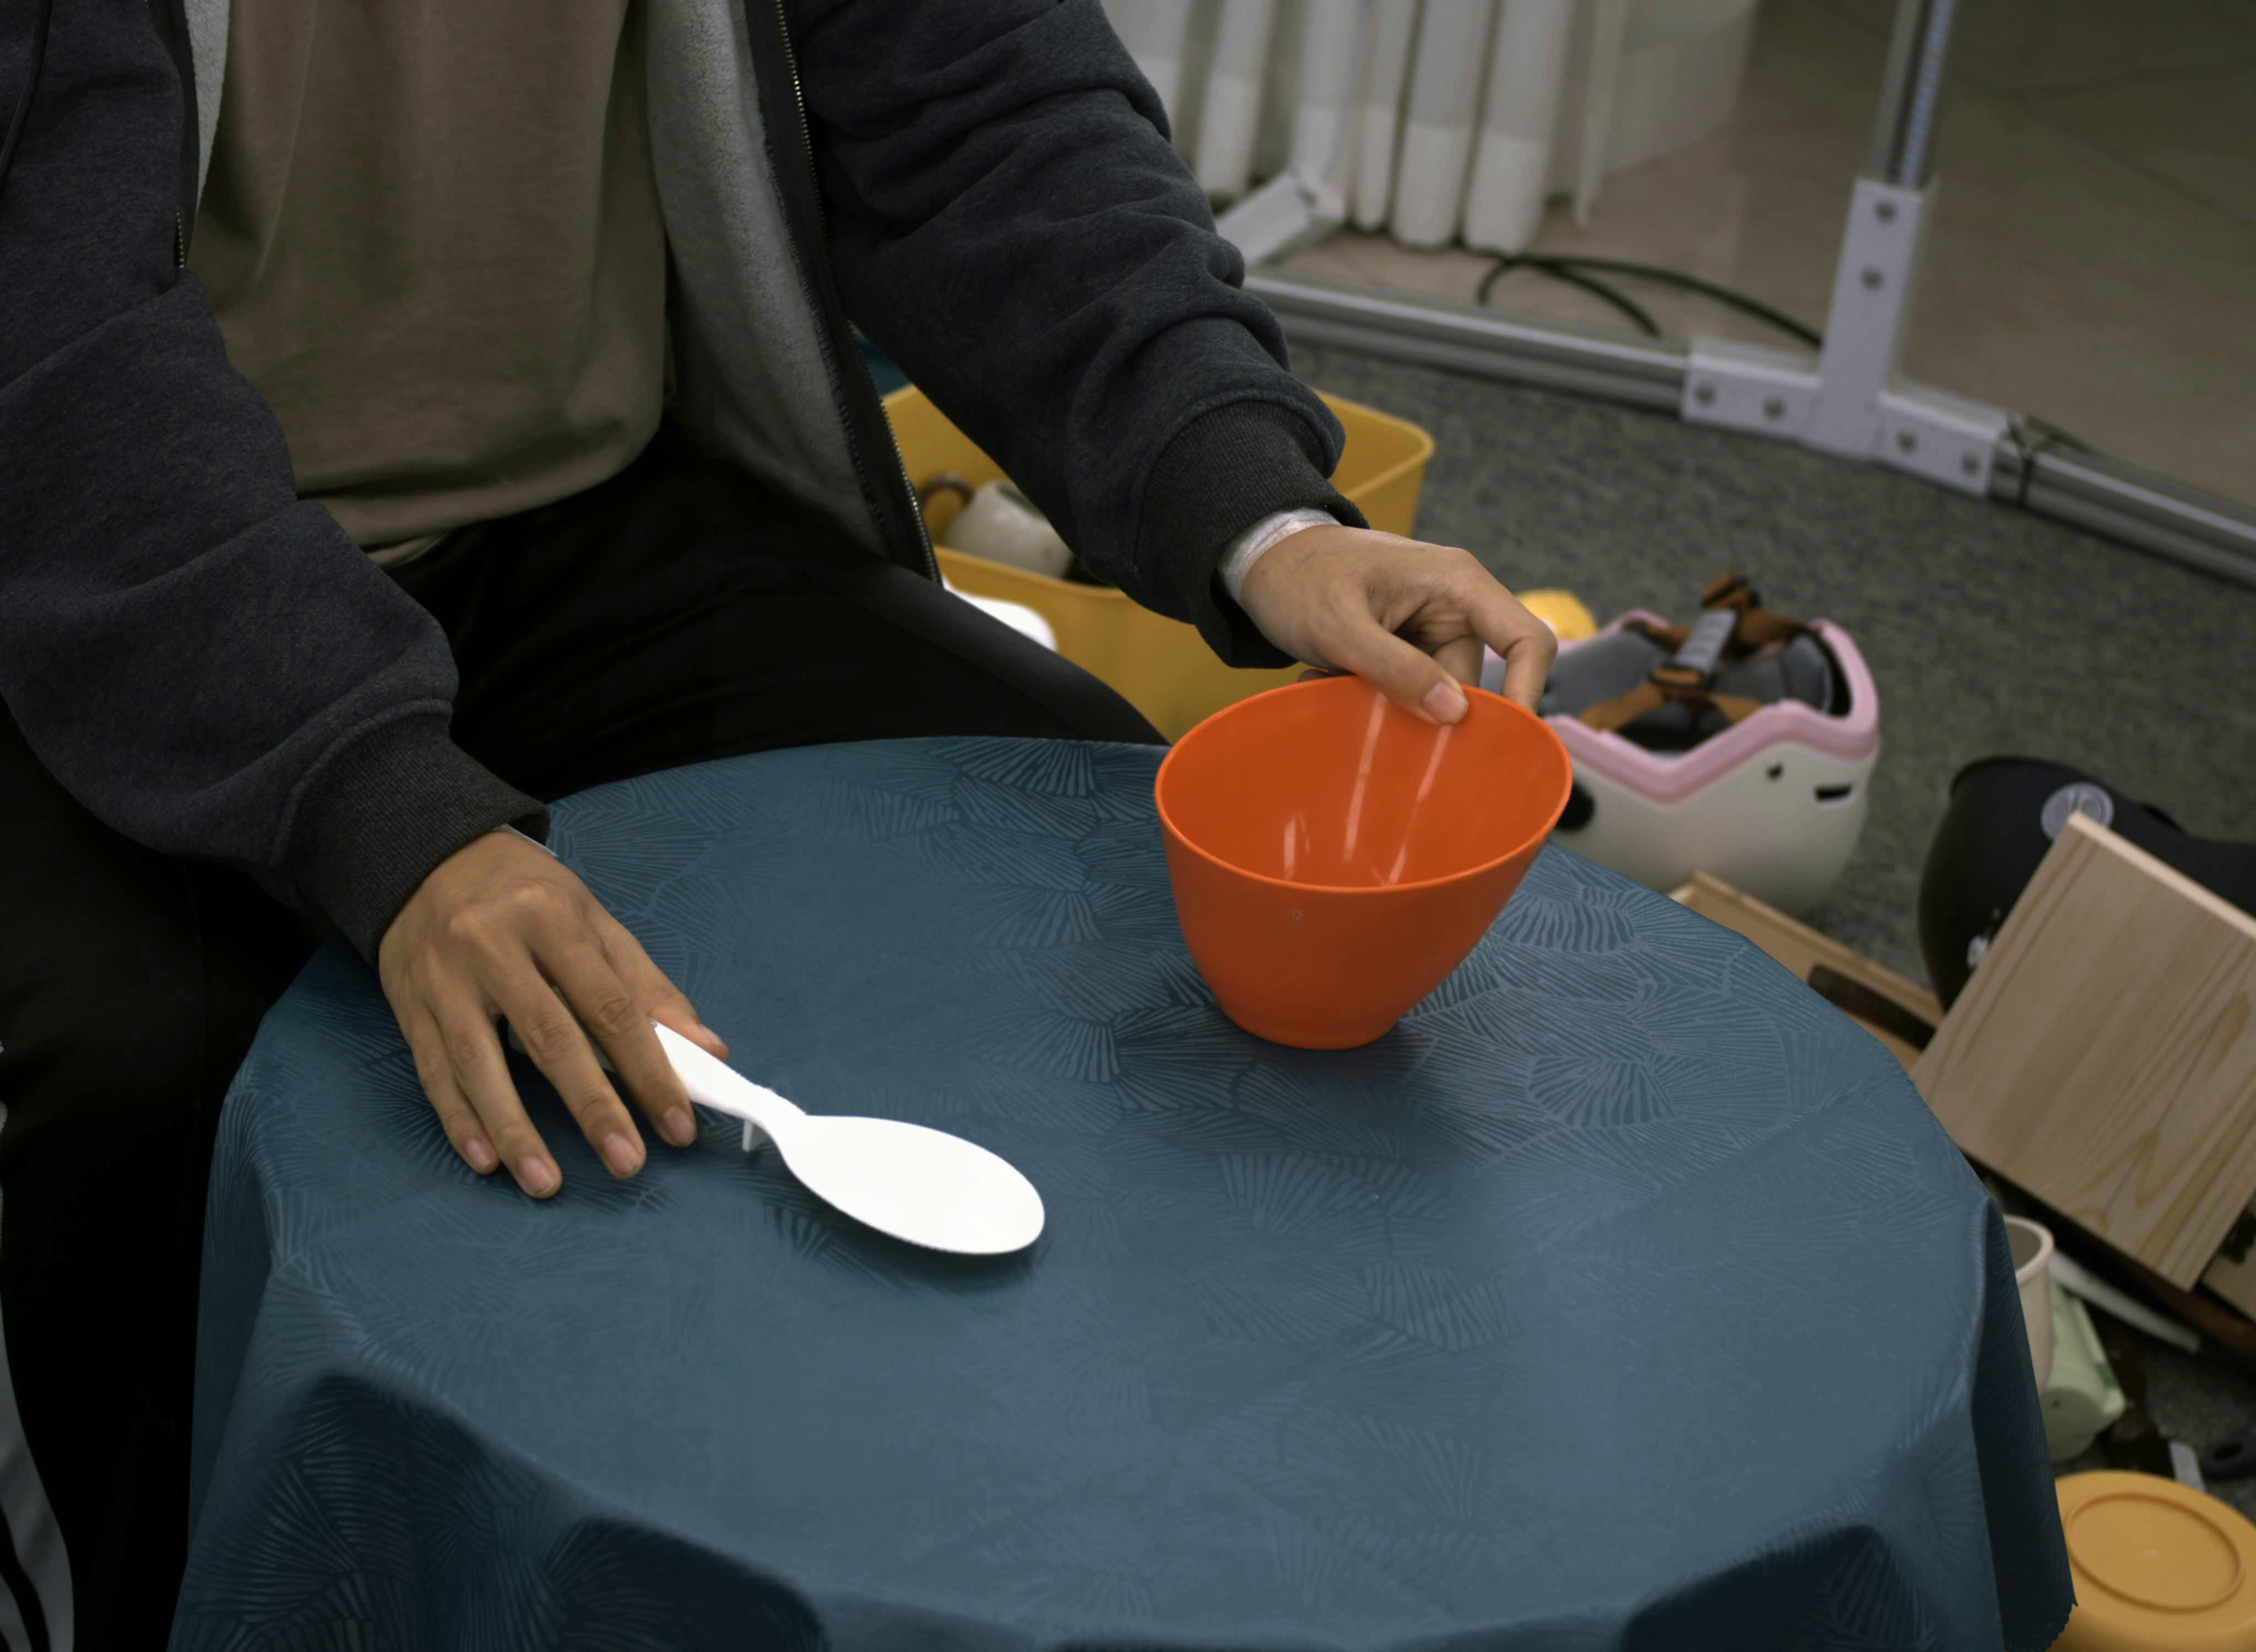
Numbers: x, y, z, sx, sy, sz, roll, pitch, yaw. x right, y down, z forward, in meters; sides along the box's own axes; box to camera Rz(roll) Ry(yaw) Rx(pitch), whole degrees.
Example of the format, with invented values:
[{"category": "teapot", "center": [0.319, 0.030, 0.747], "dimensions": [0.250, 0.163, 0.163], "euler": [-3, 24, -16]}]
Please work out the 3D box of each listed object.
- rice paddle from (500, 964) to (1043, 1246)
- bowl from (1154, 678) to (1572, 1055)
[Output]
[{"category": "rice paddle", "center": [-0.119, 0.096, 1.788], "dimensions": [0.206, 0.029, 0.068], "euler": [22, 30, 22]}, {"category": "bowl", "center": [0.080, 0.021, 1.910], "dimensions": [0.147, 0.104, 0.149], "euler": [4, 29, -3]}]
